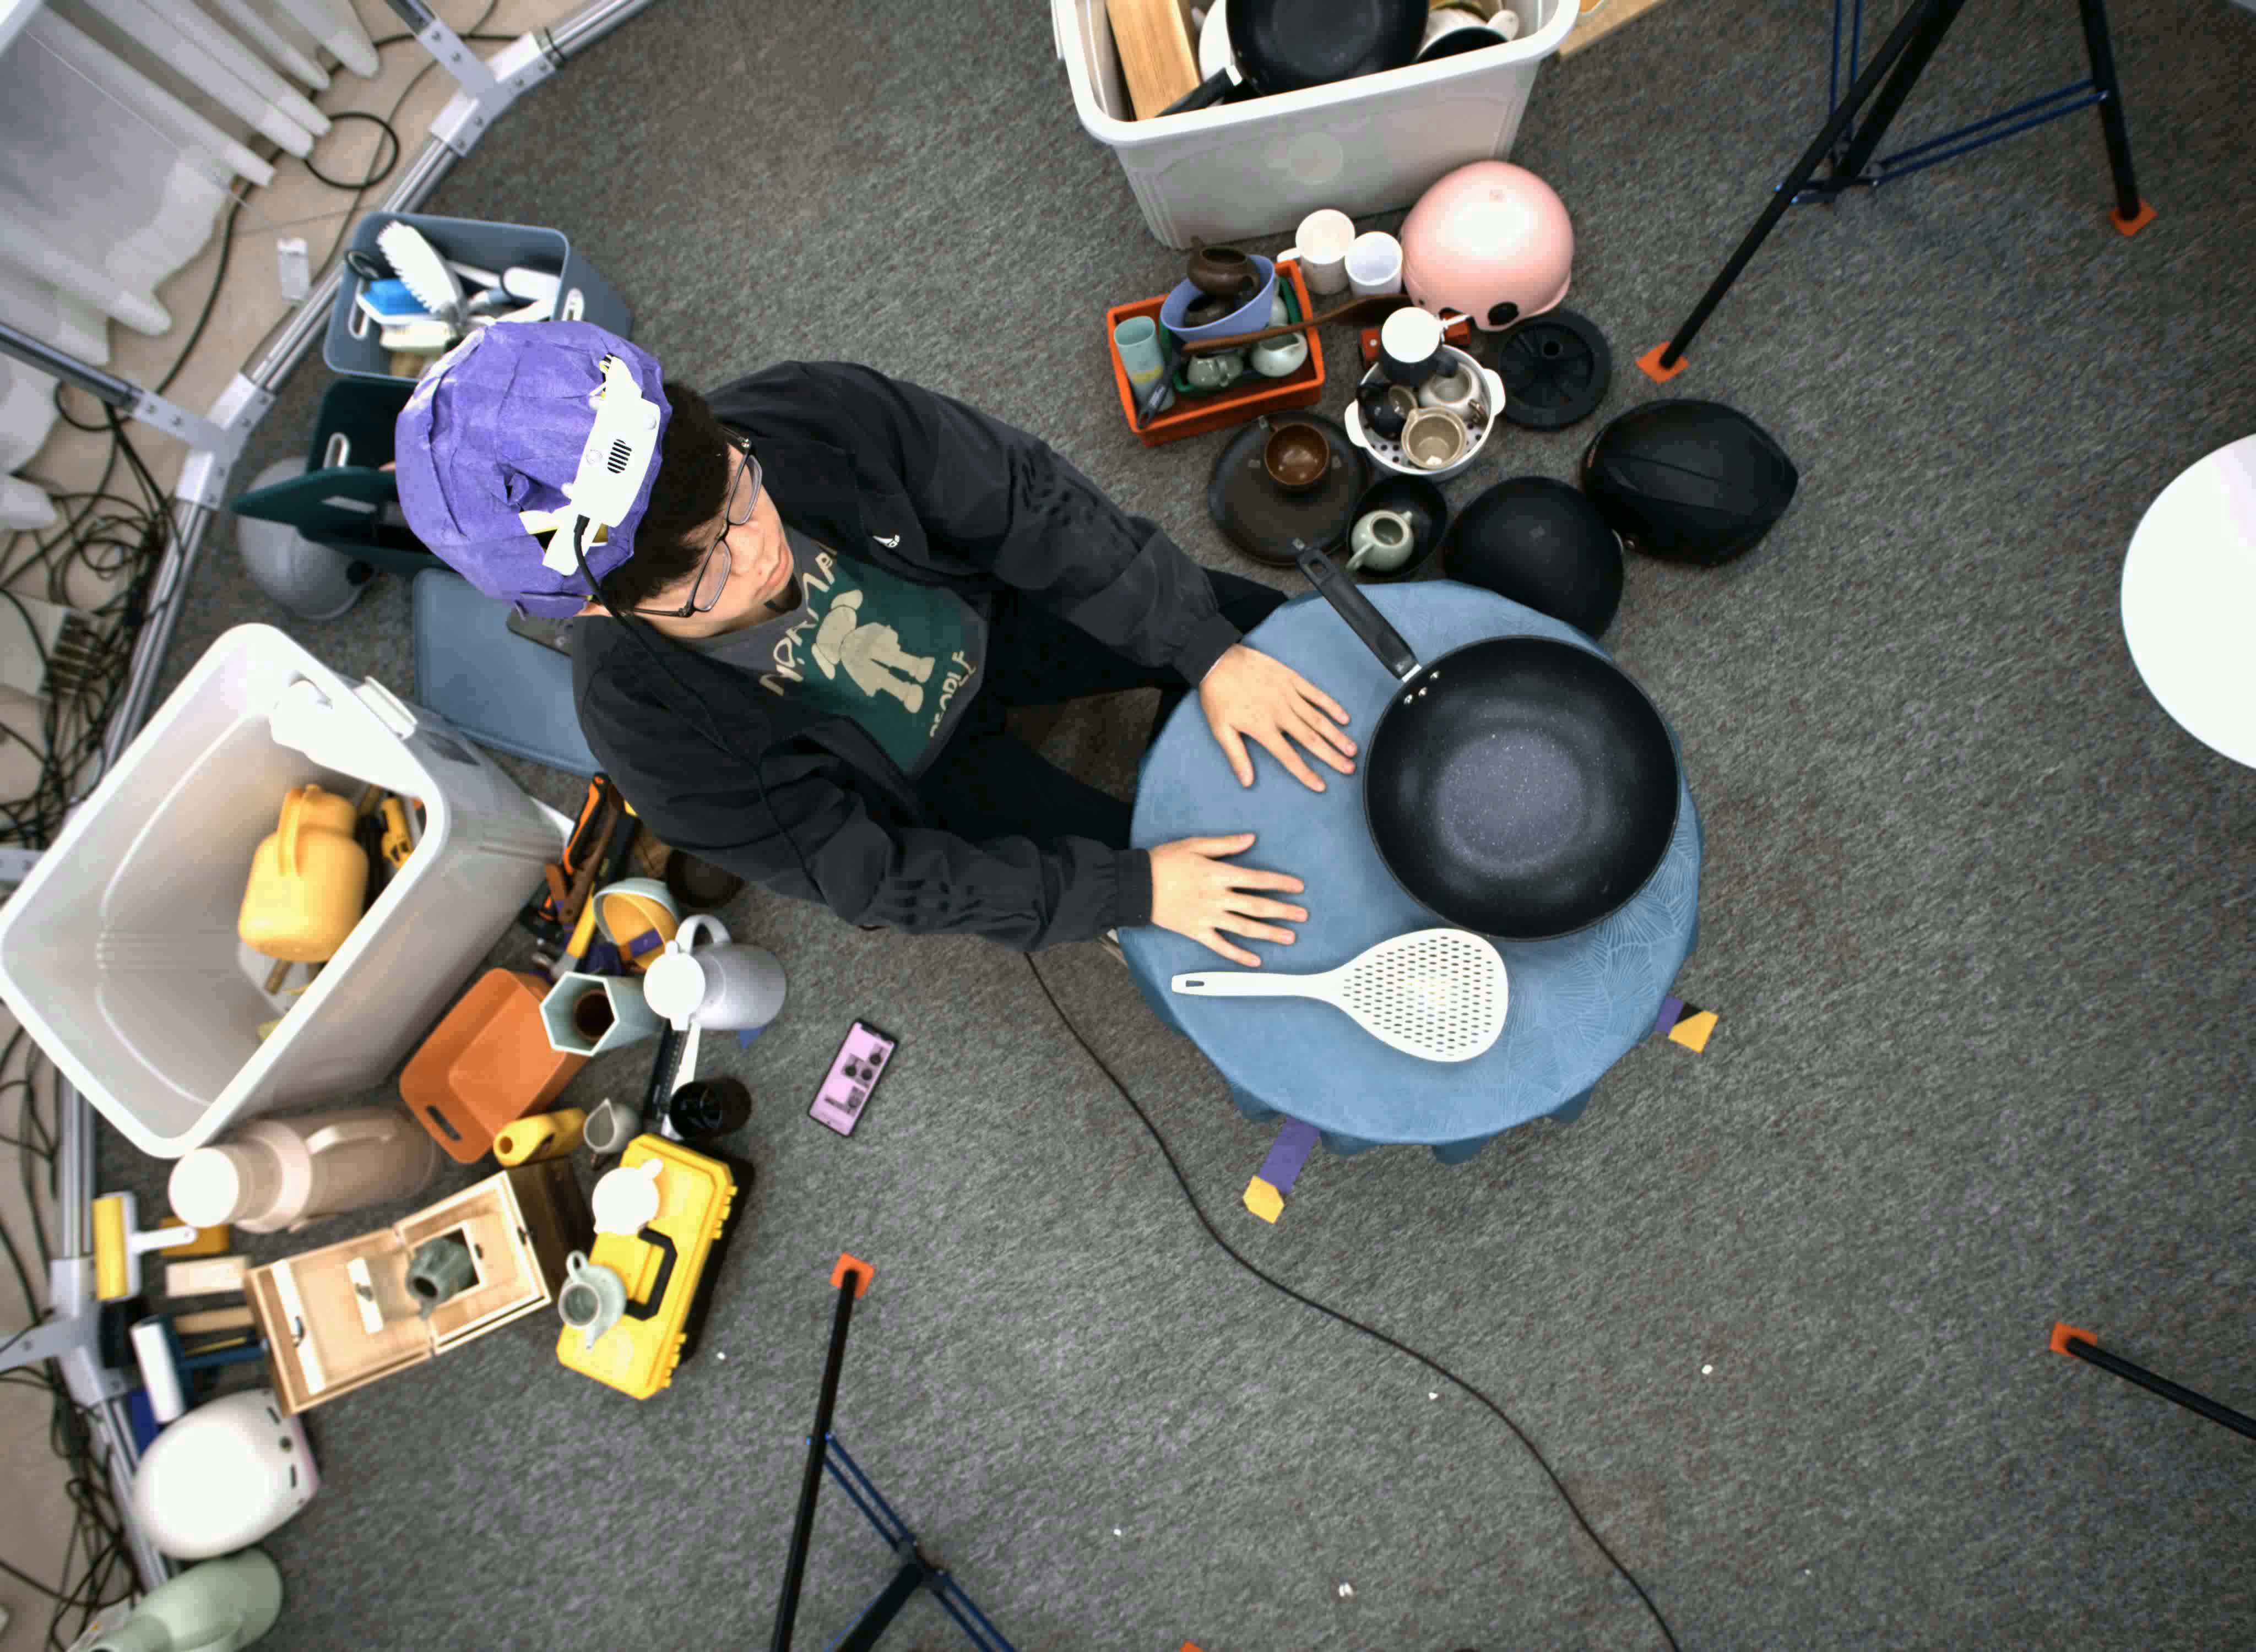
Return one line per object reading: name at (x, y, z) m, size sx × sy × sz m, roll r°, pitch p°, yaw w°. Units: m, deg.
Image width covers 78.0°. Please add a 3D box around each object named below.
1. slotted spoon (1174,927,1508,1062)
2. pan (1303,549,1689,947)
slotted spoon at (0.216, 0.167, 1.443) m, size 0.349 × 0.050 × 0.136 m, roll 2°, pitch 89°, yaw 11°
pan at (0.345, -0.095, 1.399) m, size 0.311 × 0.112 × 0.474 m, roll -42°, pitch 81°, yaw 4°
